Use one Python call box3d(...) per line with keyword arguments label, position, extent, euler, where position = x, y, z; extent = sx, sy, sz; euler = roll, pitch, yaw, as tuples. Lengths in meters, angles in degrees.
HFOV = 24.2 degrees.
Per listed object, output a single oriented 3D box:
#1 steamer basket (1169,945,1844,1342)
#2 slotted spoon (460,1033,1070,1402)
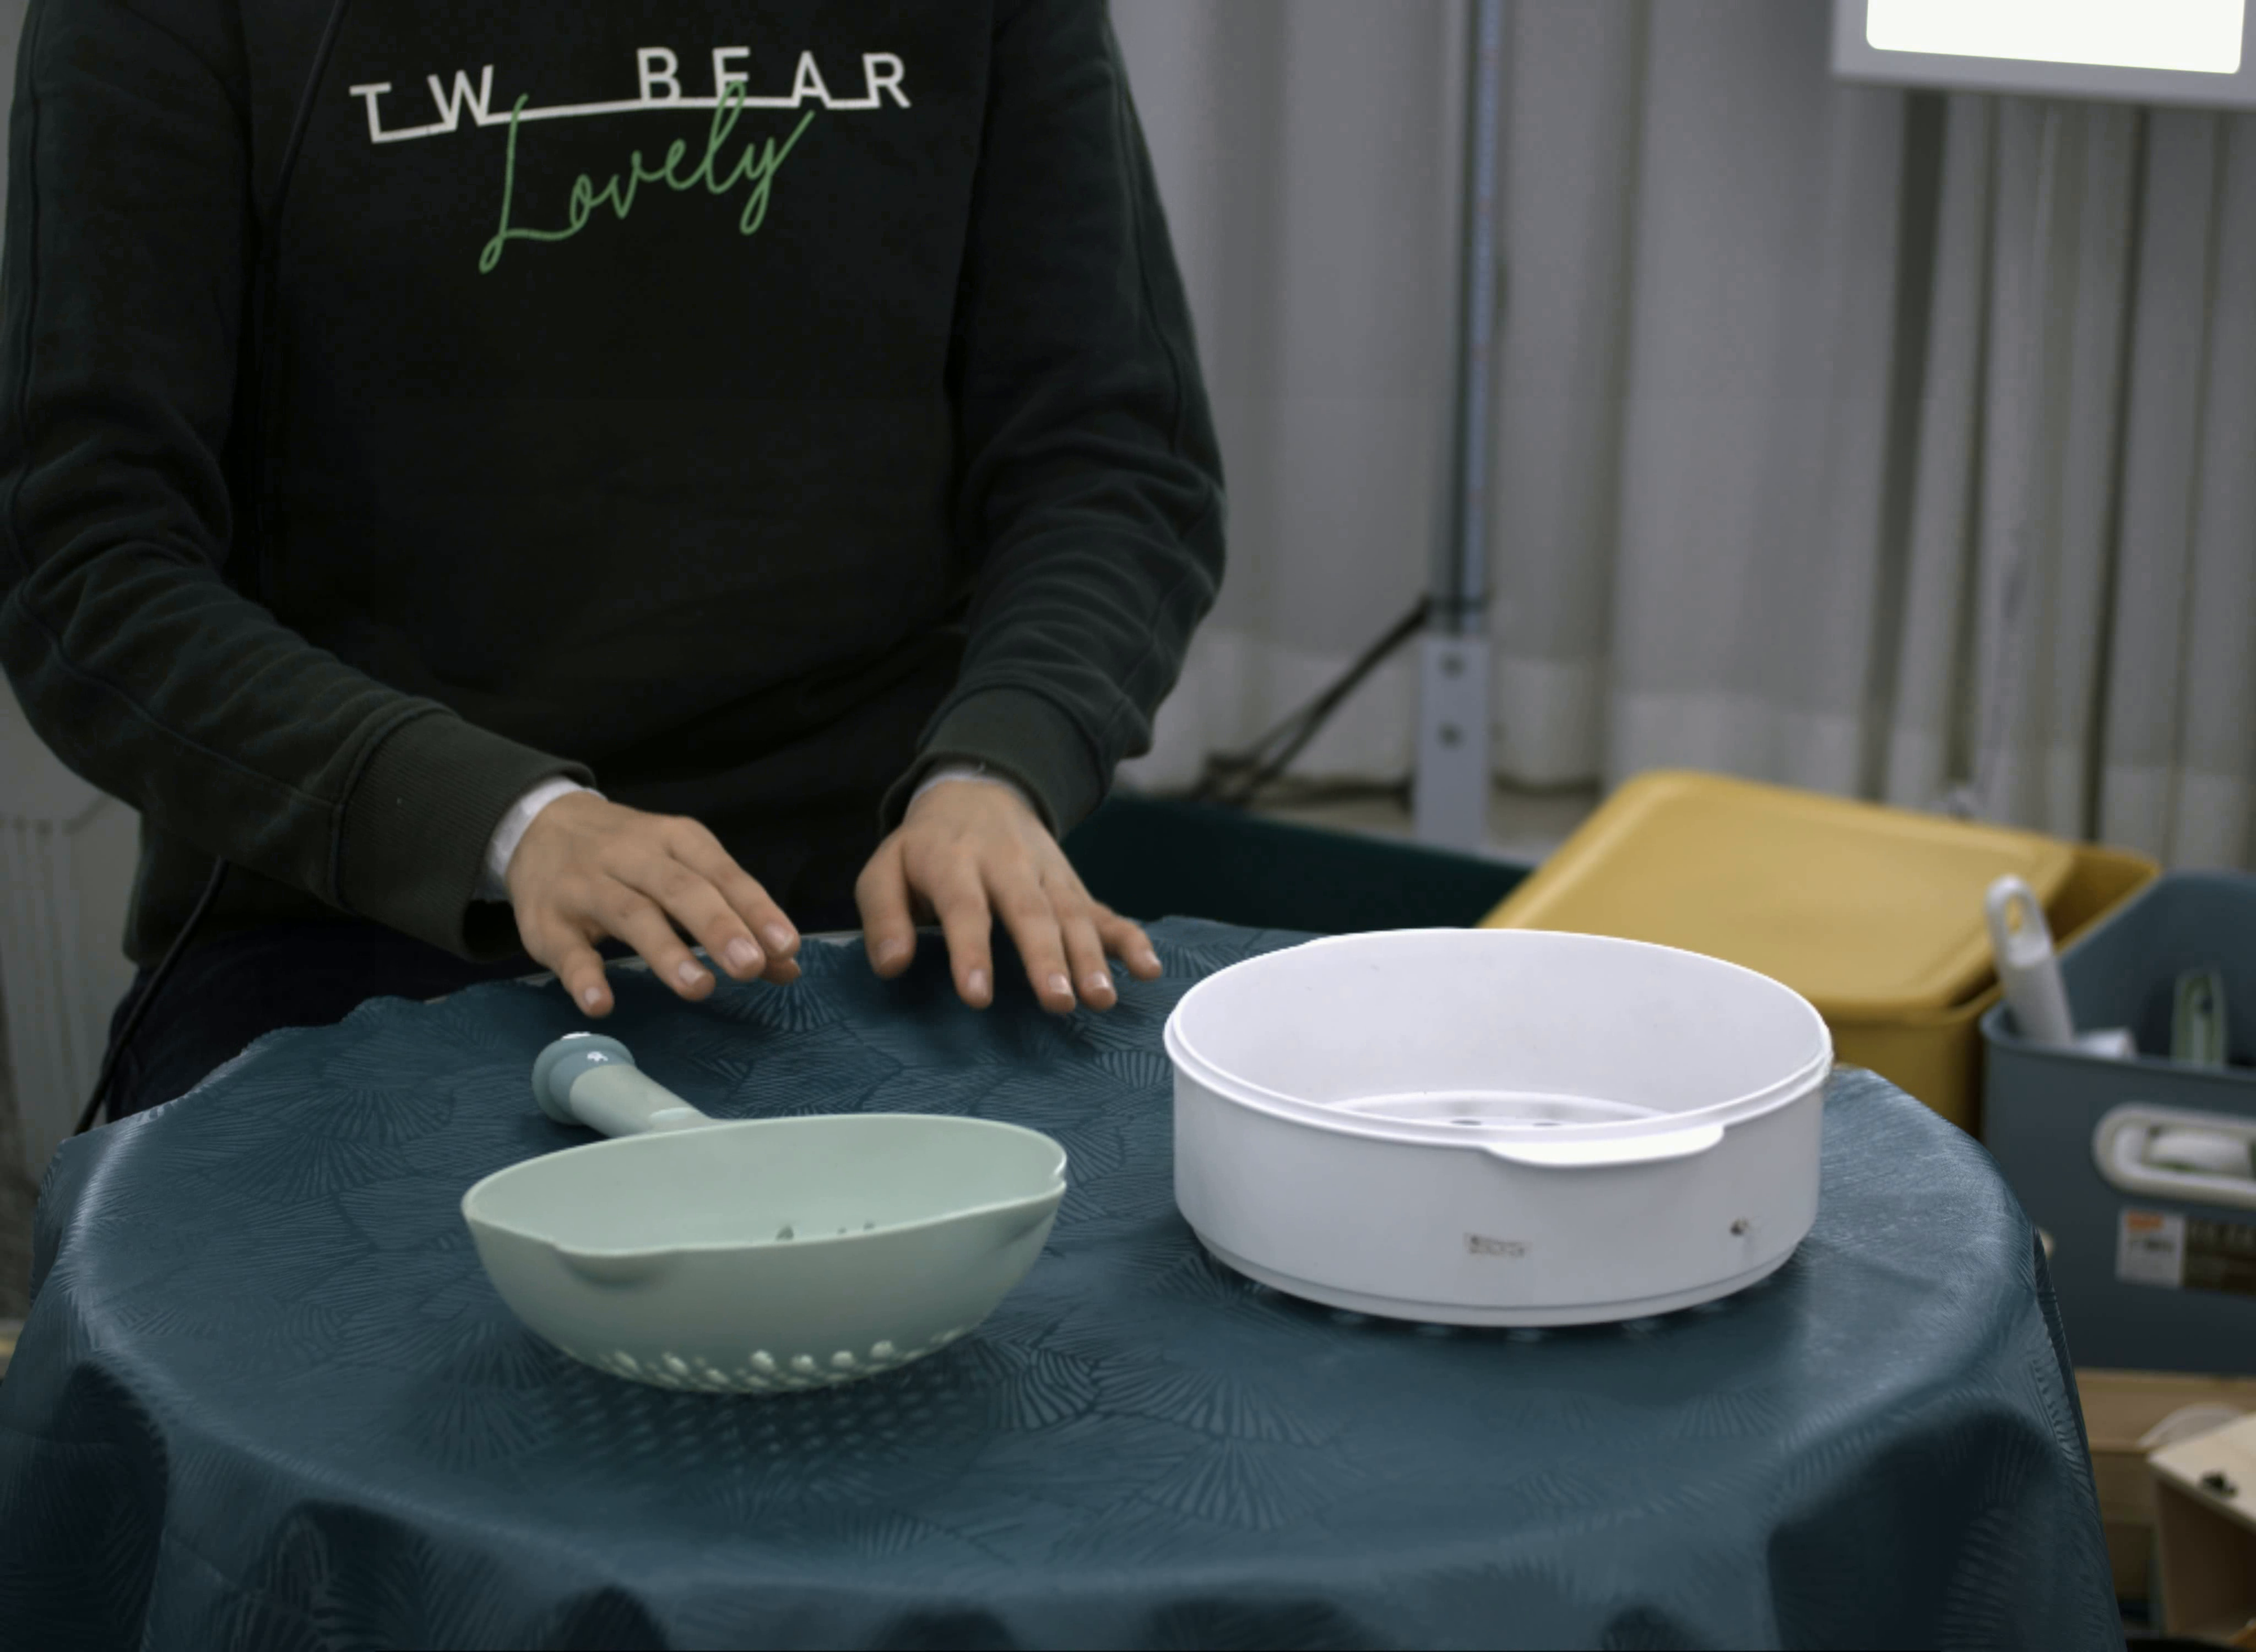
box3d(label="steamer basket", position=(0.112, 0.094, 1.579), extent=(0.202, 0.070, 0.228), euler=(-3, 16, -16))
box3d(label="slotted spoon", position=(-0.130, 0.099, 1.552), extent=(0.169, 0.076, 0.355), euler=(-6, 17, -17))
